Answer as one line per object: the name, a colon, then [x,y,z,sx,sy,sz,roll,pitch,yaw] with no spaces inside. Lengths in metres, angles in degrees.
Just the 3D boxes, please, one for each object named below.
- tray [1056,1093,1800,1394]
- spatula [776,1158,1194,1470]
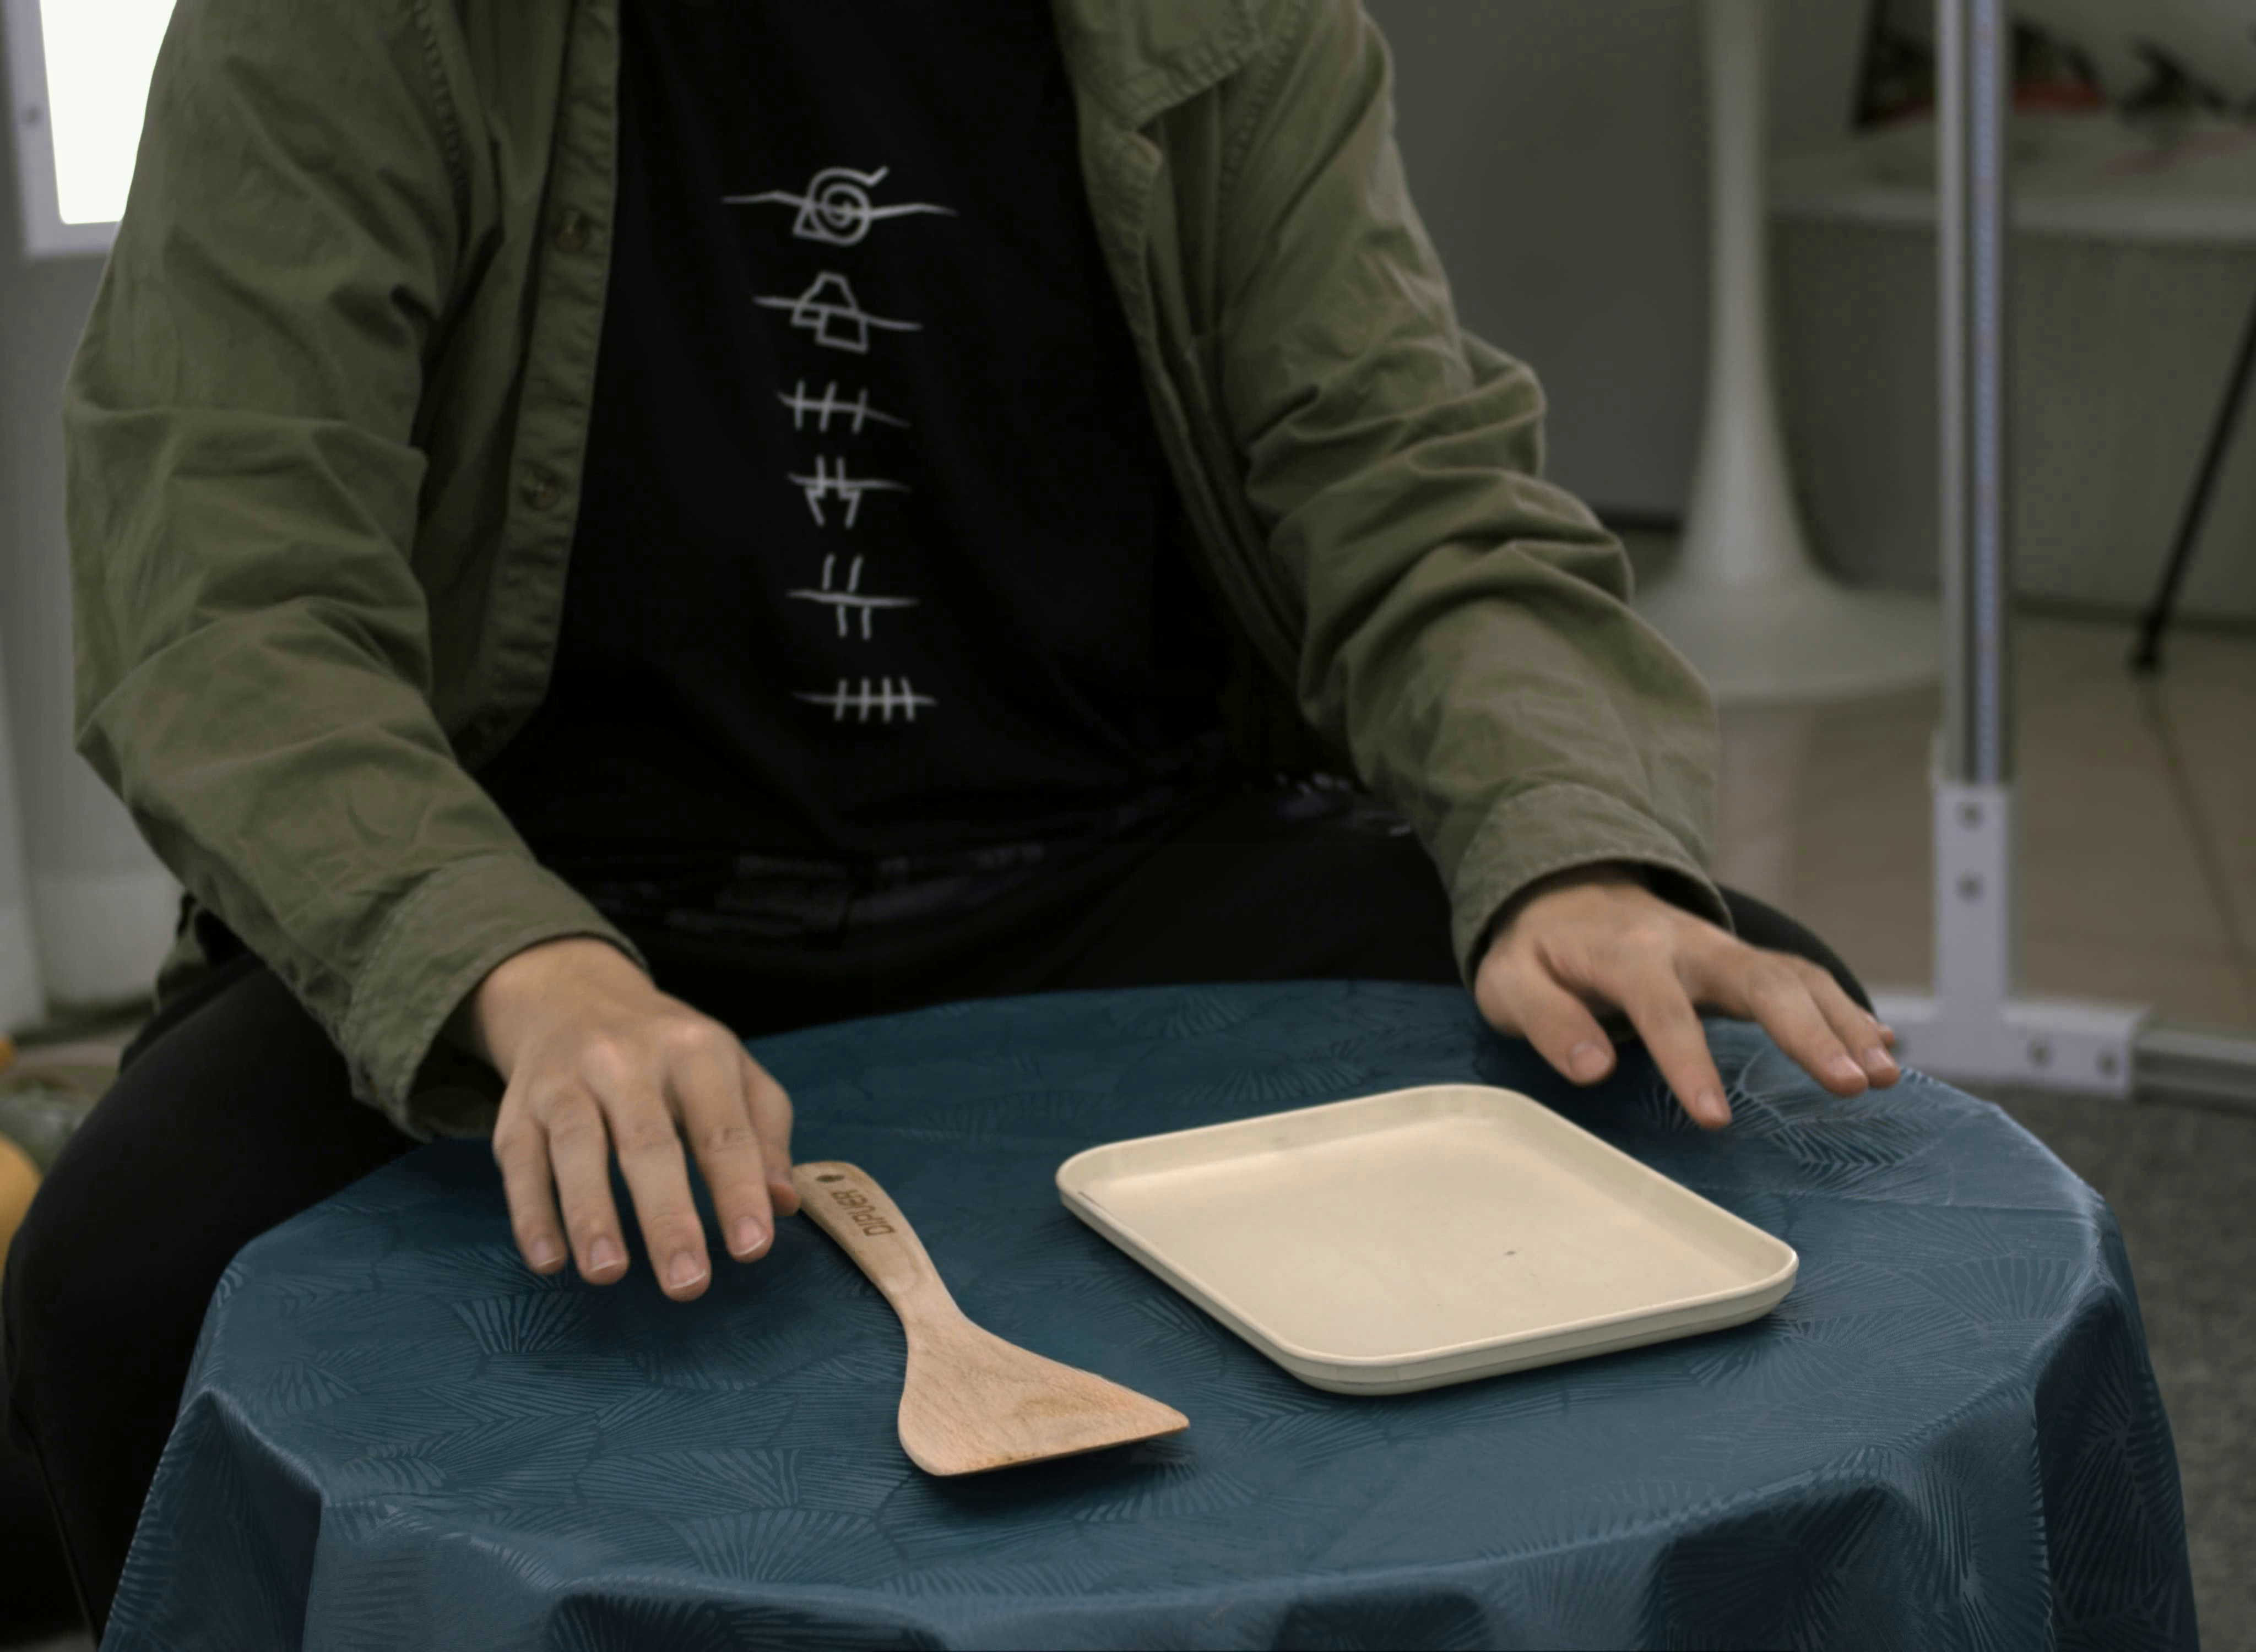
tray: [0.090,0.129,1.676,0.168,0.017,0.242,-8,14,-20]
spatula: [-0.059,0.145,1.655,0.078,0.017,0.330,-7,14,-15]
